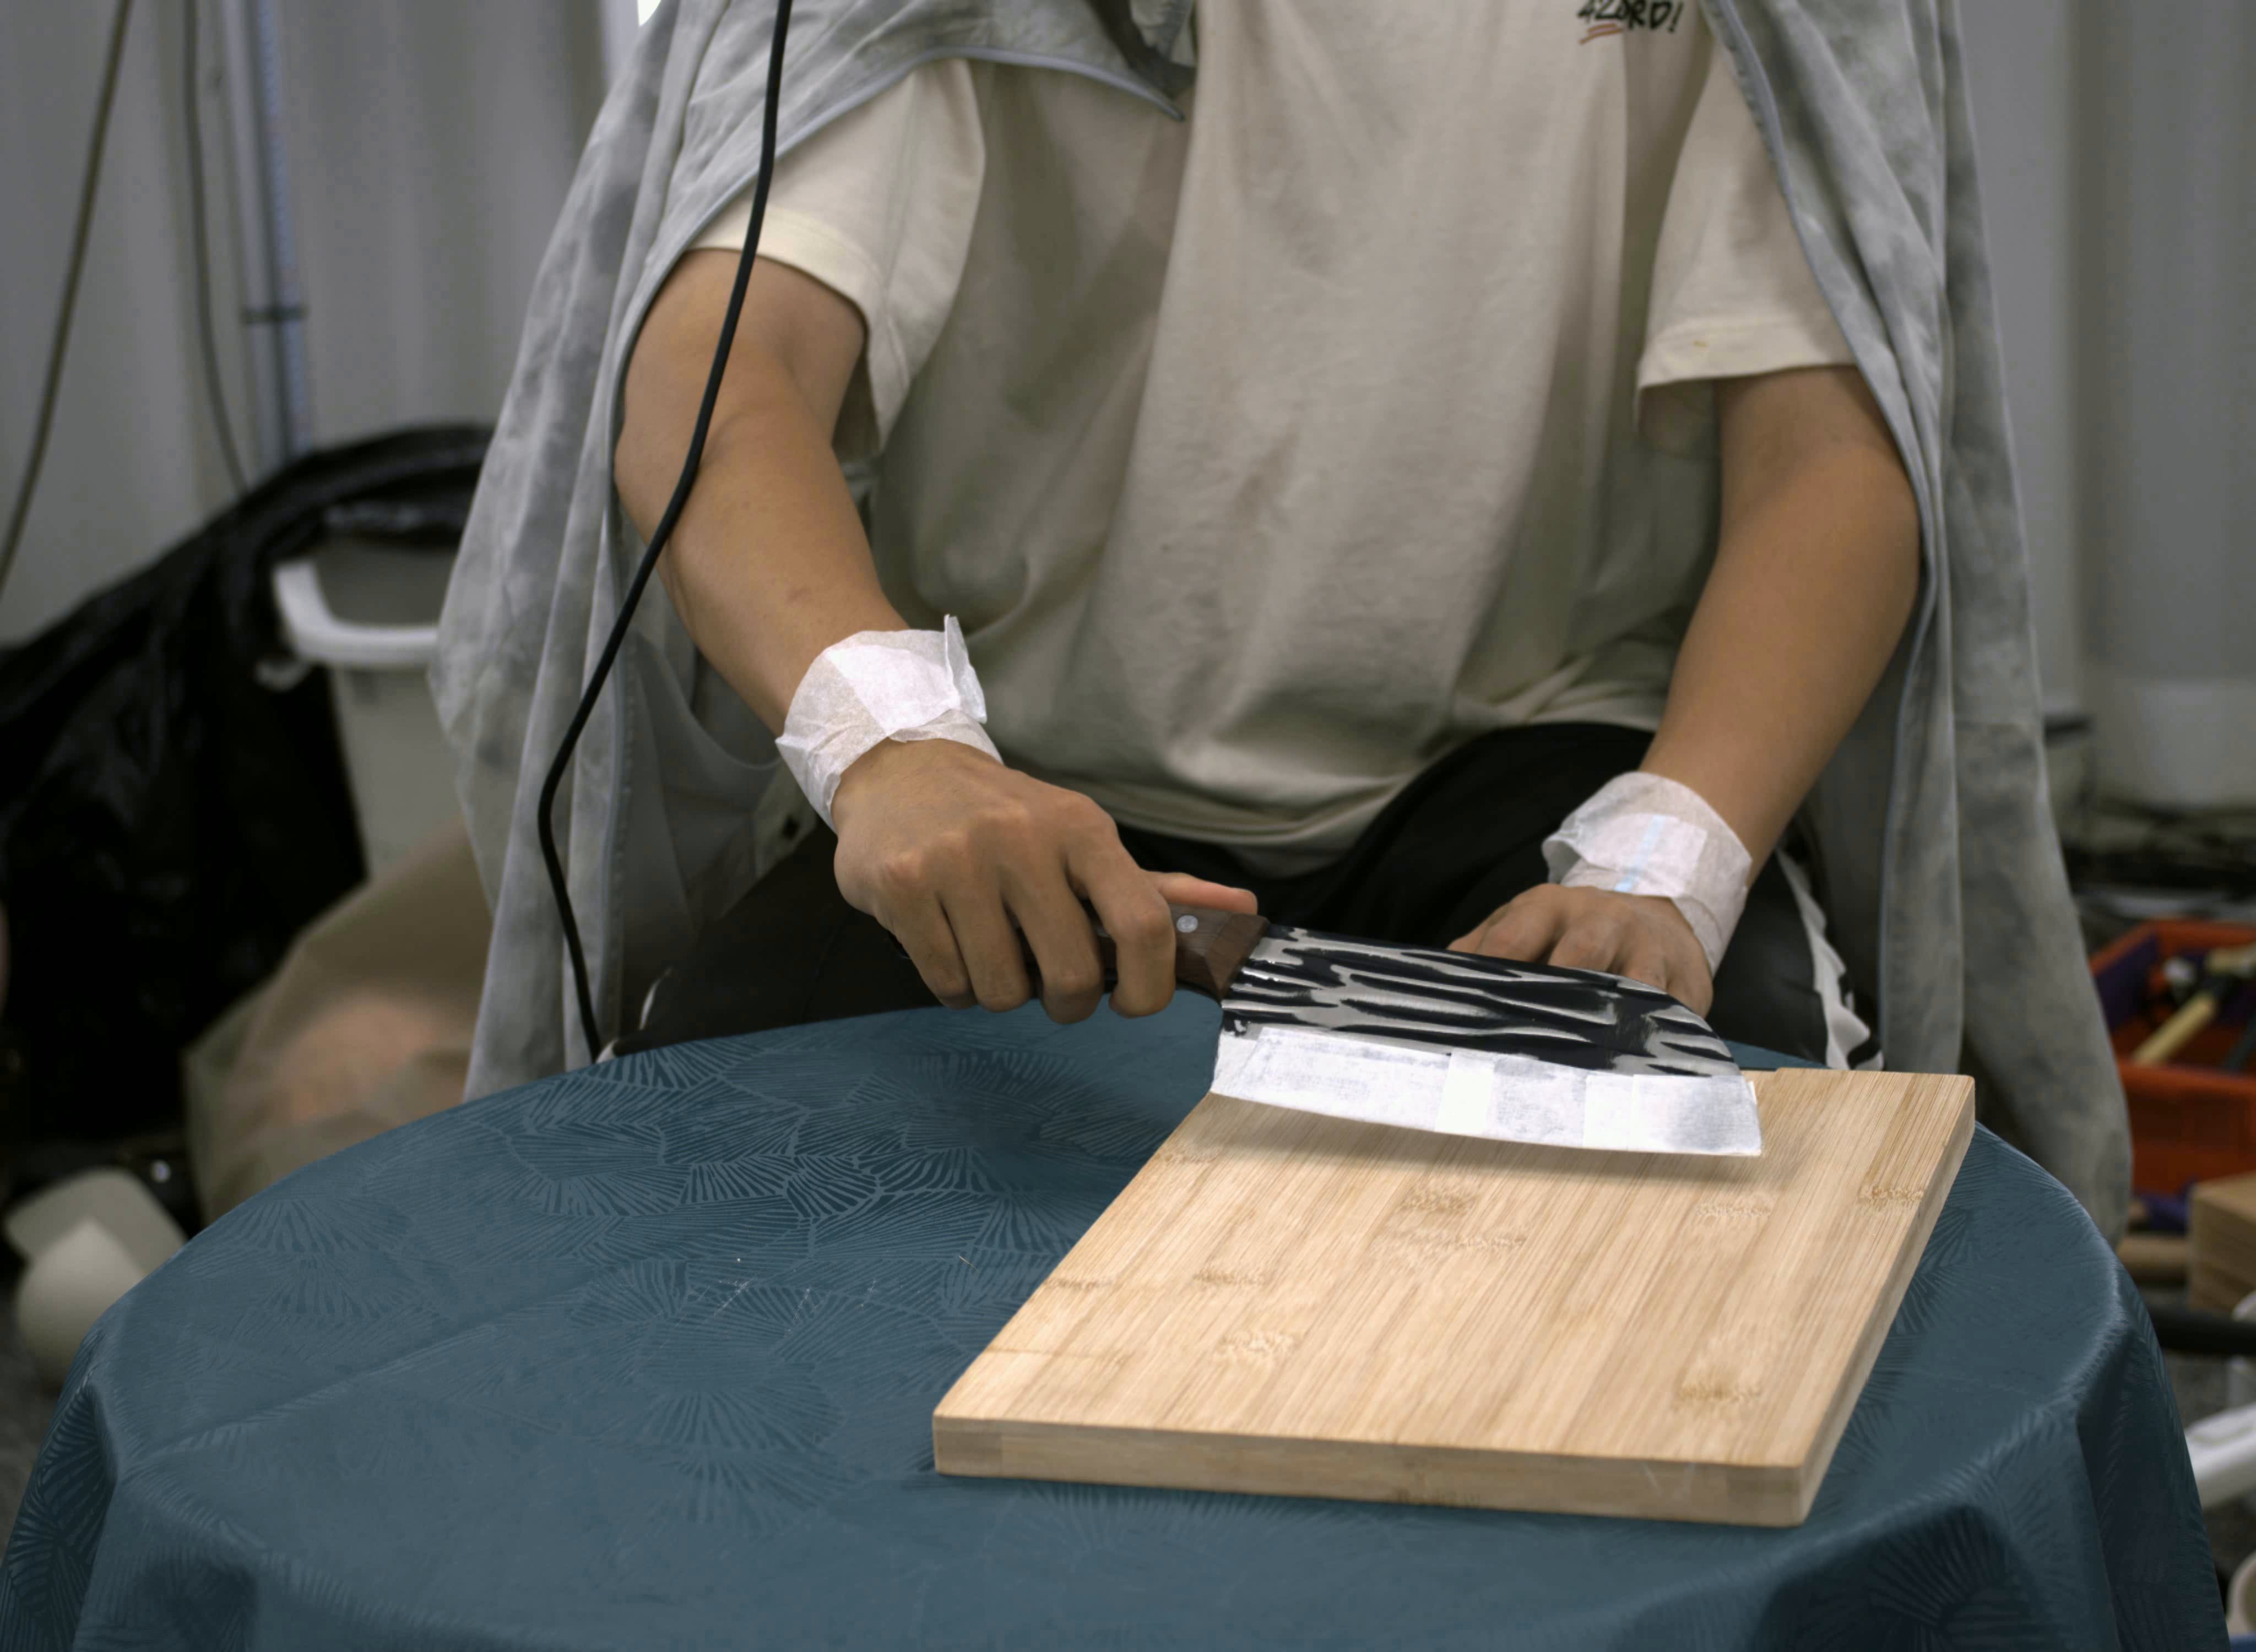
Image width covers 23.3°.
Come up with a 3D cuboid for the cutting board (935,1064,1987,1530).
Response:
[{"bbox_3d":[0.110,0.128,1.618,0.250,0.023,0.350,2,15,15],"label":"cutting board"}]

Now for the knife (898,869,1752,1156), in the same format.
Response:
[{"bbox_3d":[0.056,0.059,1.707,0.300,0.023,0.069,9,53,22],"label":"knife"}]
